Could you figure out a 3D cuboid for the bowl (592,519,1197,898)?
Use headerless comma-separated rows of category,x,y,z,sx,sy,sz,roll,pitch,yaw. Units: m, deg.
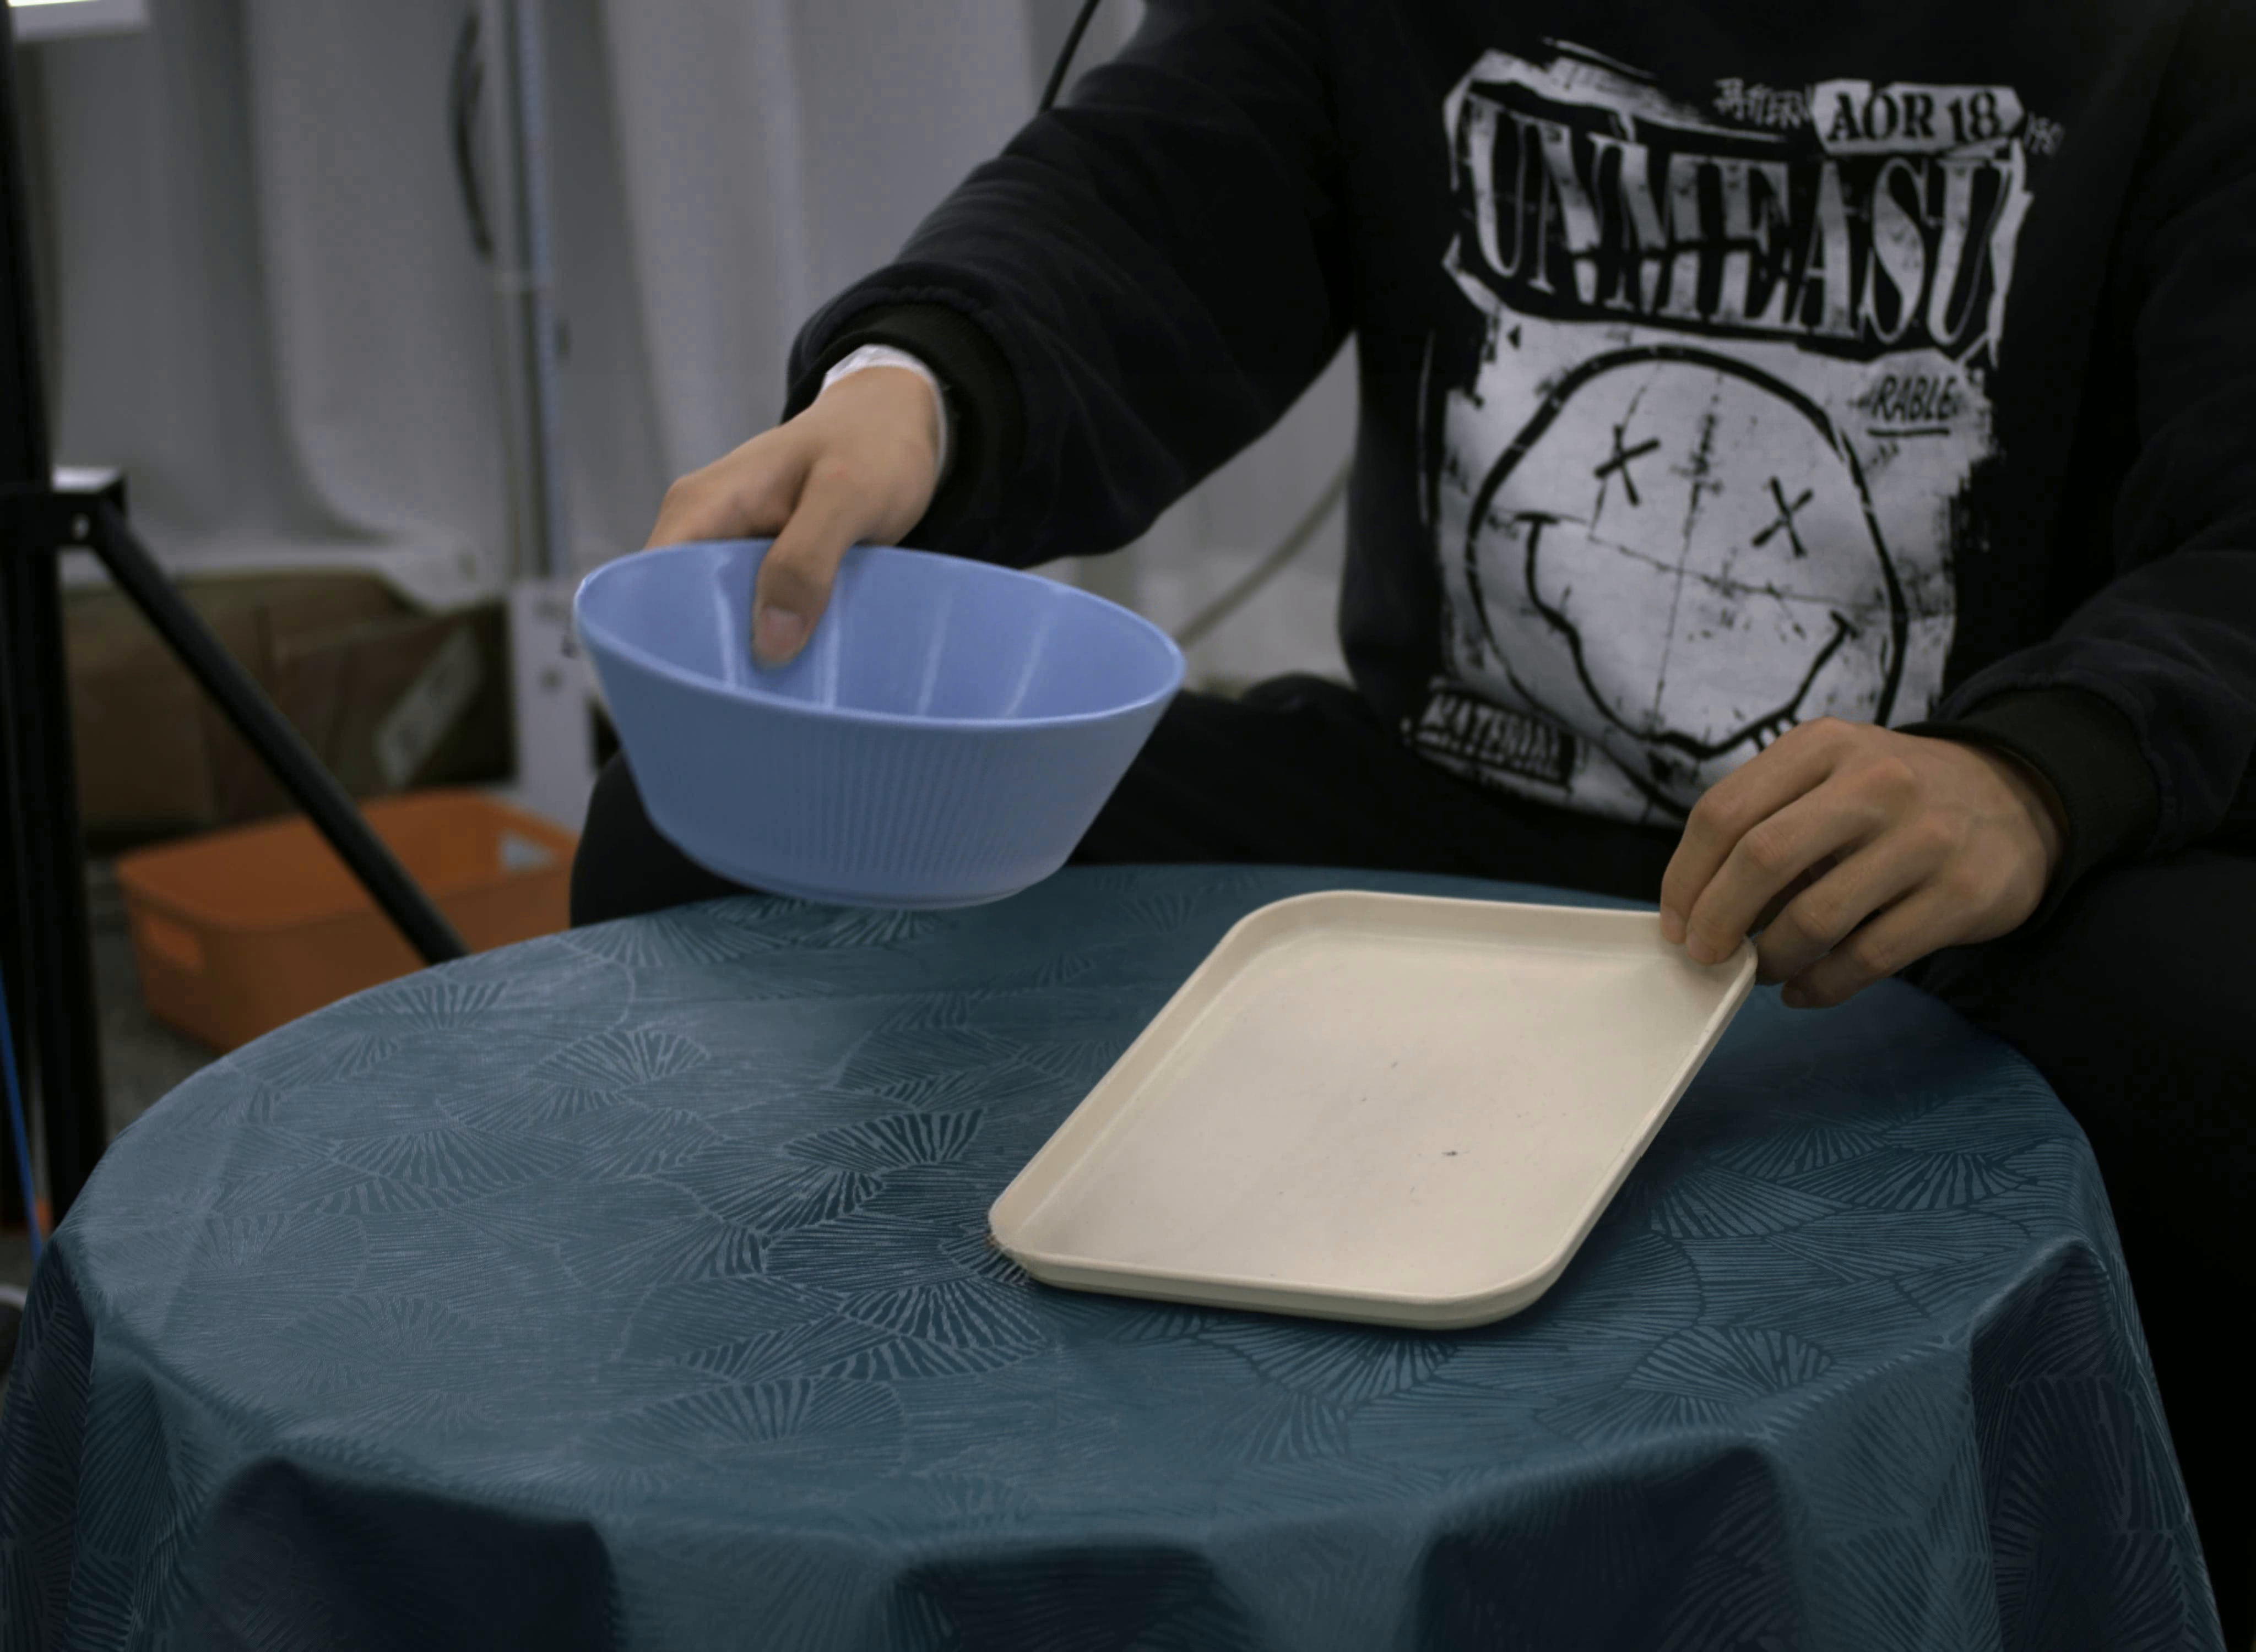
bowl,-0.071,-0.031,1.527,0.175,0.070,0.177,8,18,-4

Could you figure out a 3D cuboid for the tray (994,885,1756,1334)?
tray,0.076,0.081,1.544,0.174,0.017,0.237,4,27,25
